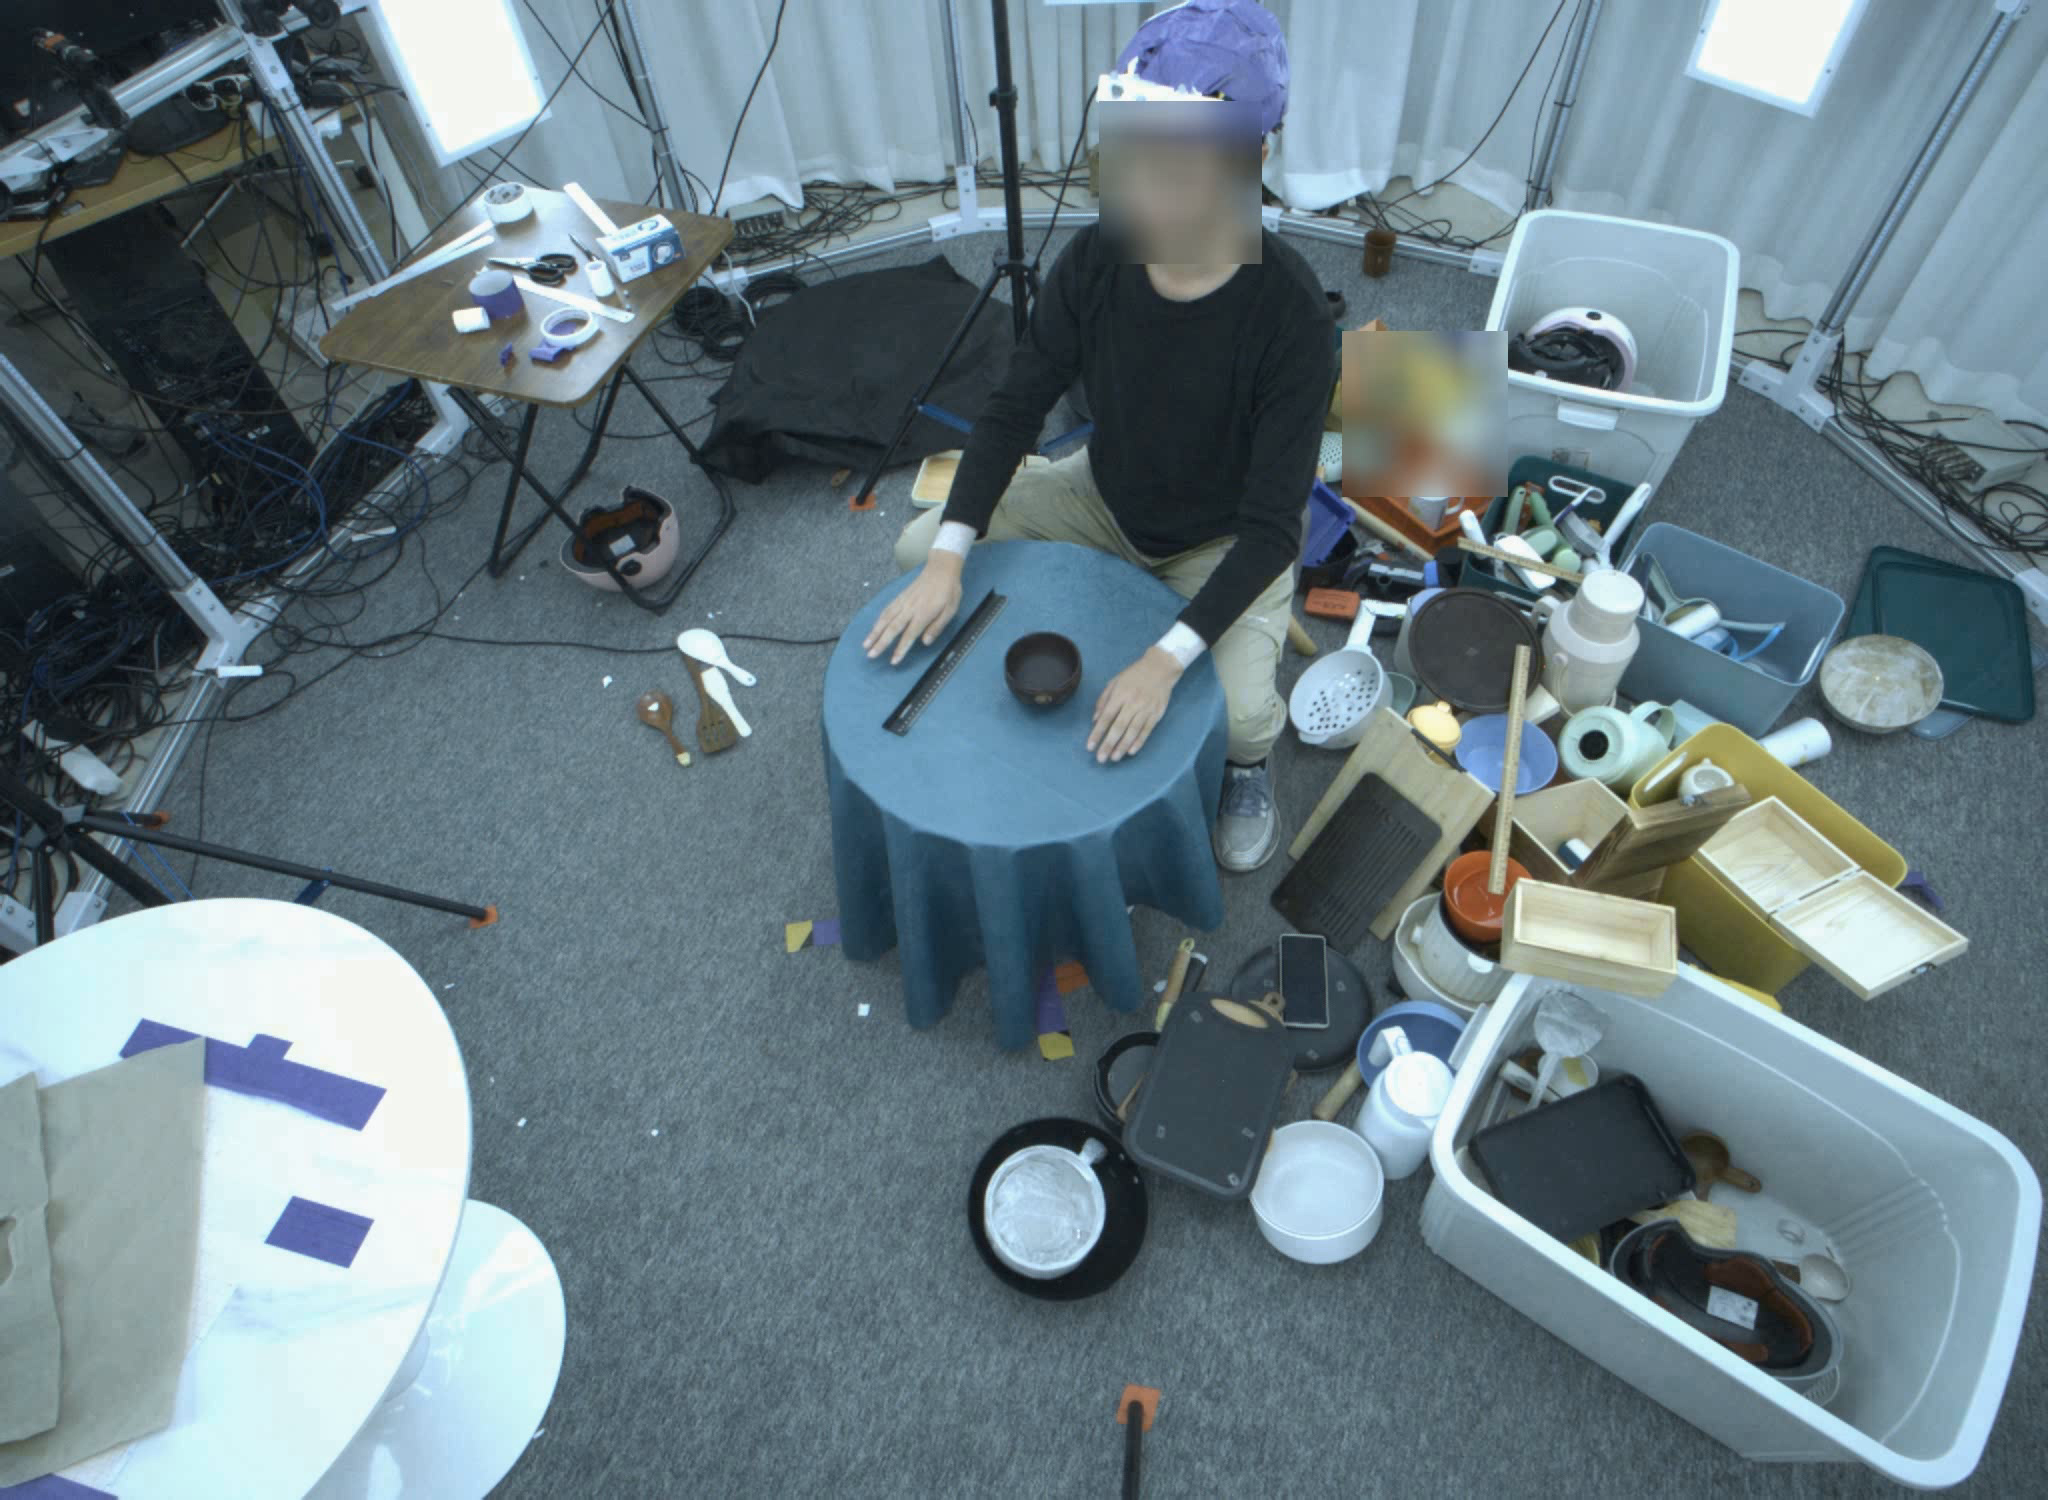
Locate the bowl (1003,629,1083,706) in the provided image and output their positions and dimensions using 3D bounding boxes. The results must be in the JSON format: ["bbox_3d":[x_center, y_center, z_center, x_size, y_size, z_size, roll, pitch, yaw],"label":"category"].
[{"bbox_3d":[0.029,-0.114,1.822,0.118,0.070,0.117,-1,56,2],"label":"bowl"}]

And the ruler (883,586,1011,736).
[{"bbox_3d":[-0.116,-0.142,1.882,0.039,0.017,0.313,27,60,15],"label":"ruler"}]
